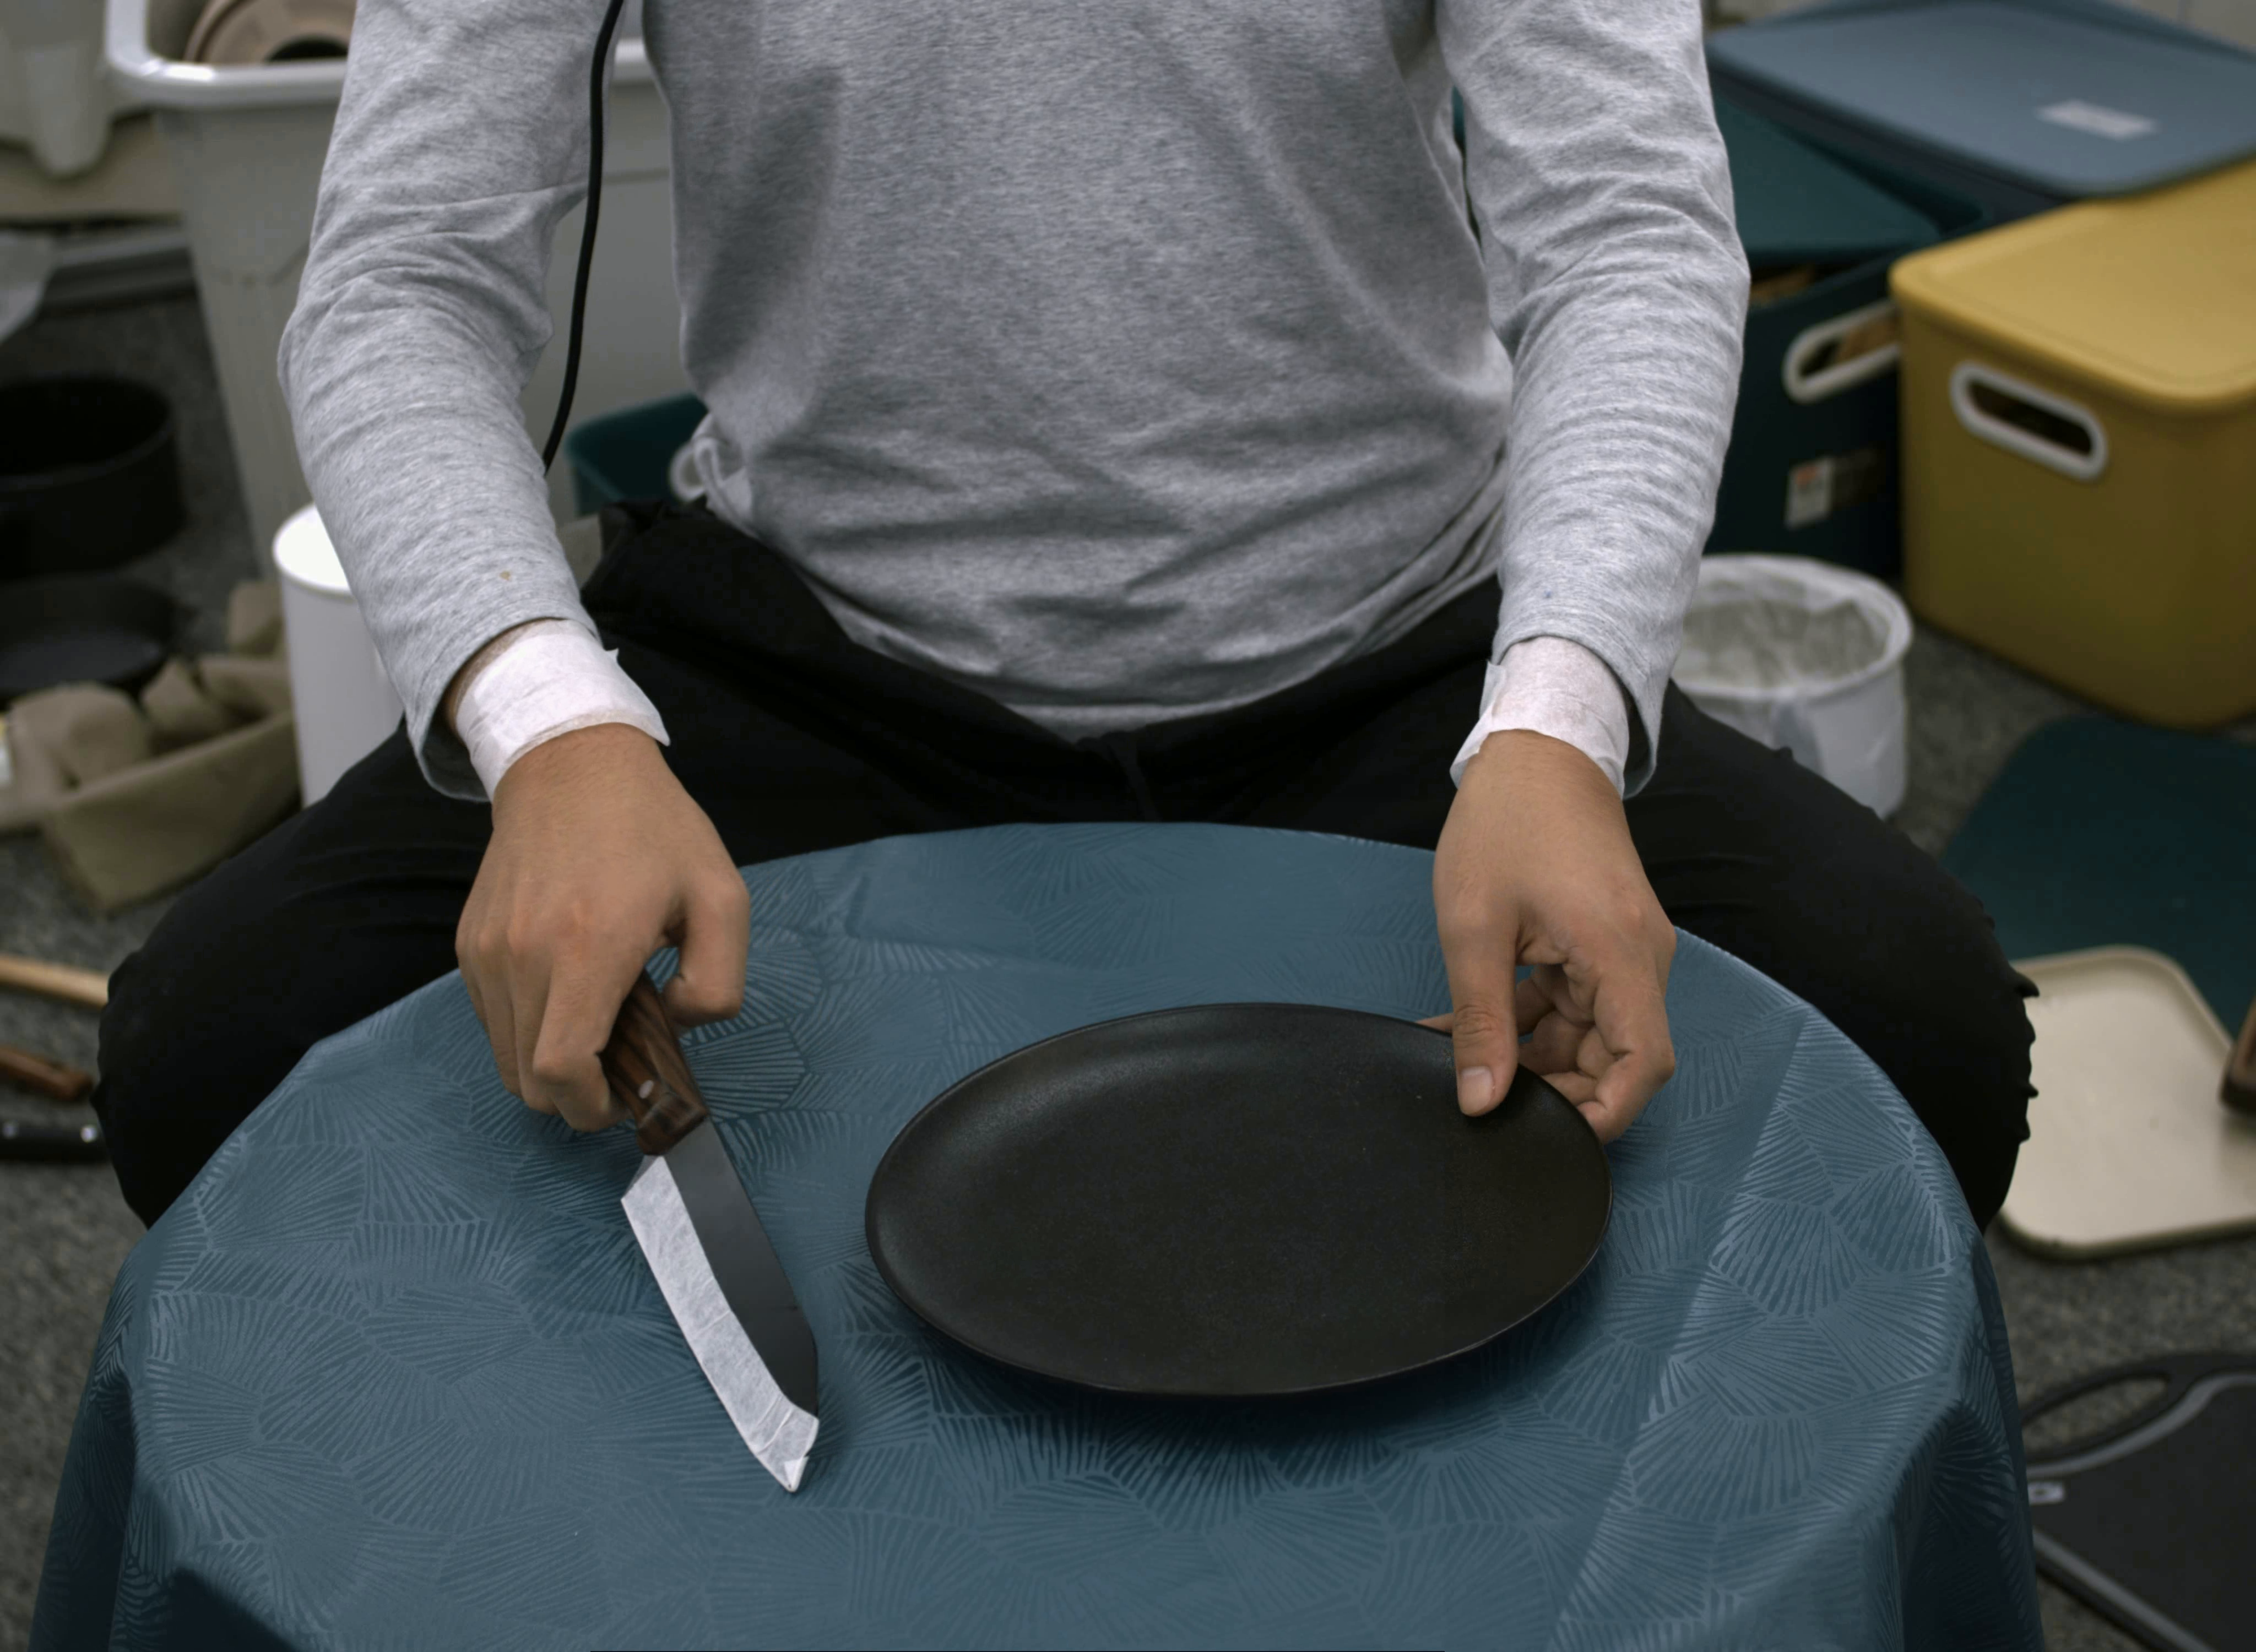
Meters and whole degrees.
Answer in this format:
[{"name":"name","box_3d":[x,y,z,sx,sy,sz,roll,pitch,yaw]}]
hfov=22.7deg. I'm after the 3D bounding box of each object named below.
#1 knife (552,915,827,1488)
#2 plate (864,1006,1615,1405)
[{"name":"knife","box_3d":[-0.143,0.118,1.821,0.020,0.050,0.293,33,18,-36]},{"name":"plate","box_3d":[0.036,0.127,1.823,0.243,0.023,0.248,-2,27,1]}]
